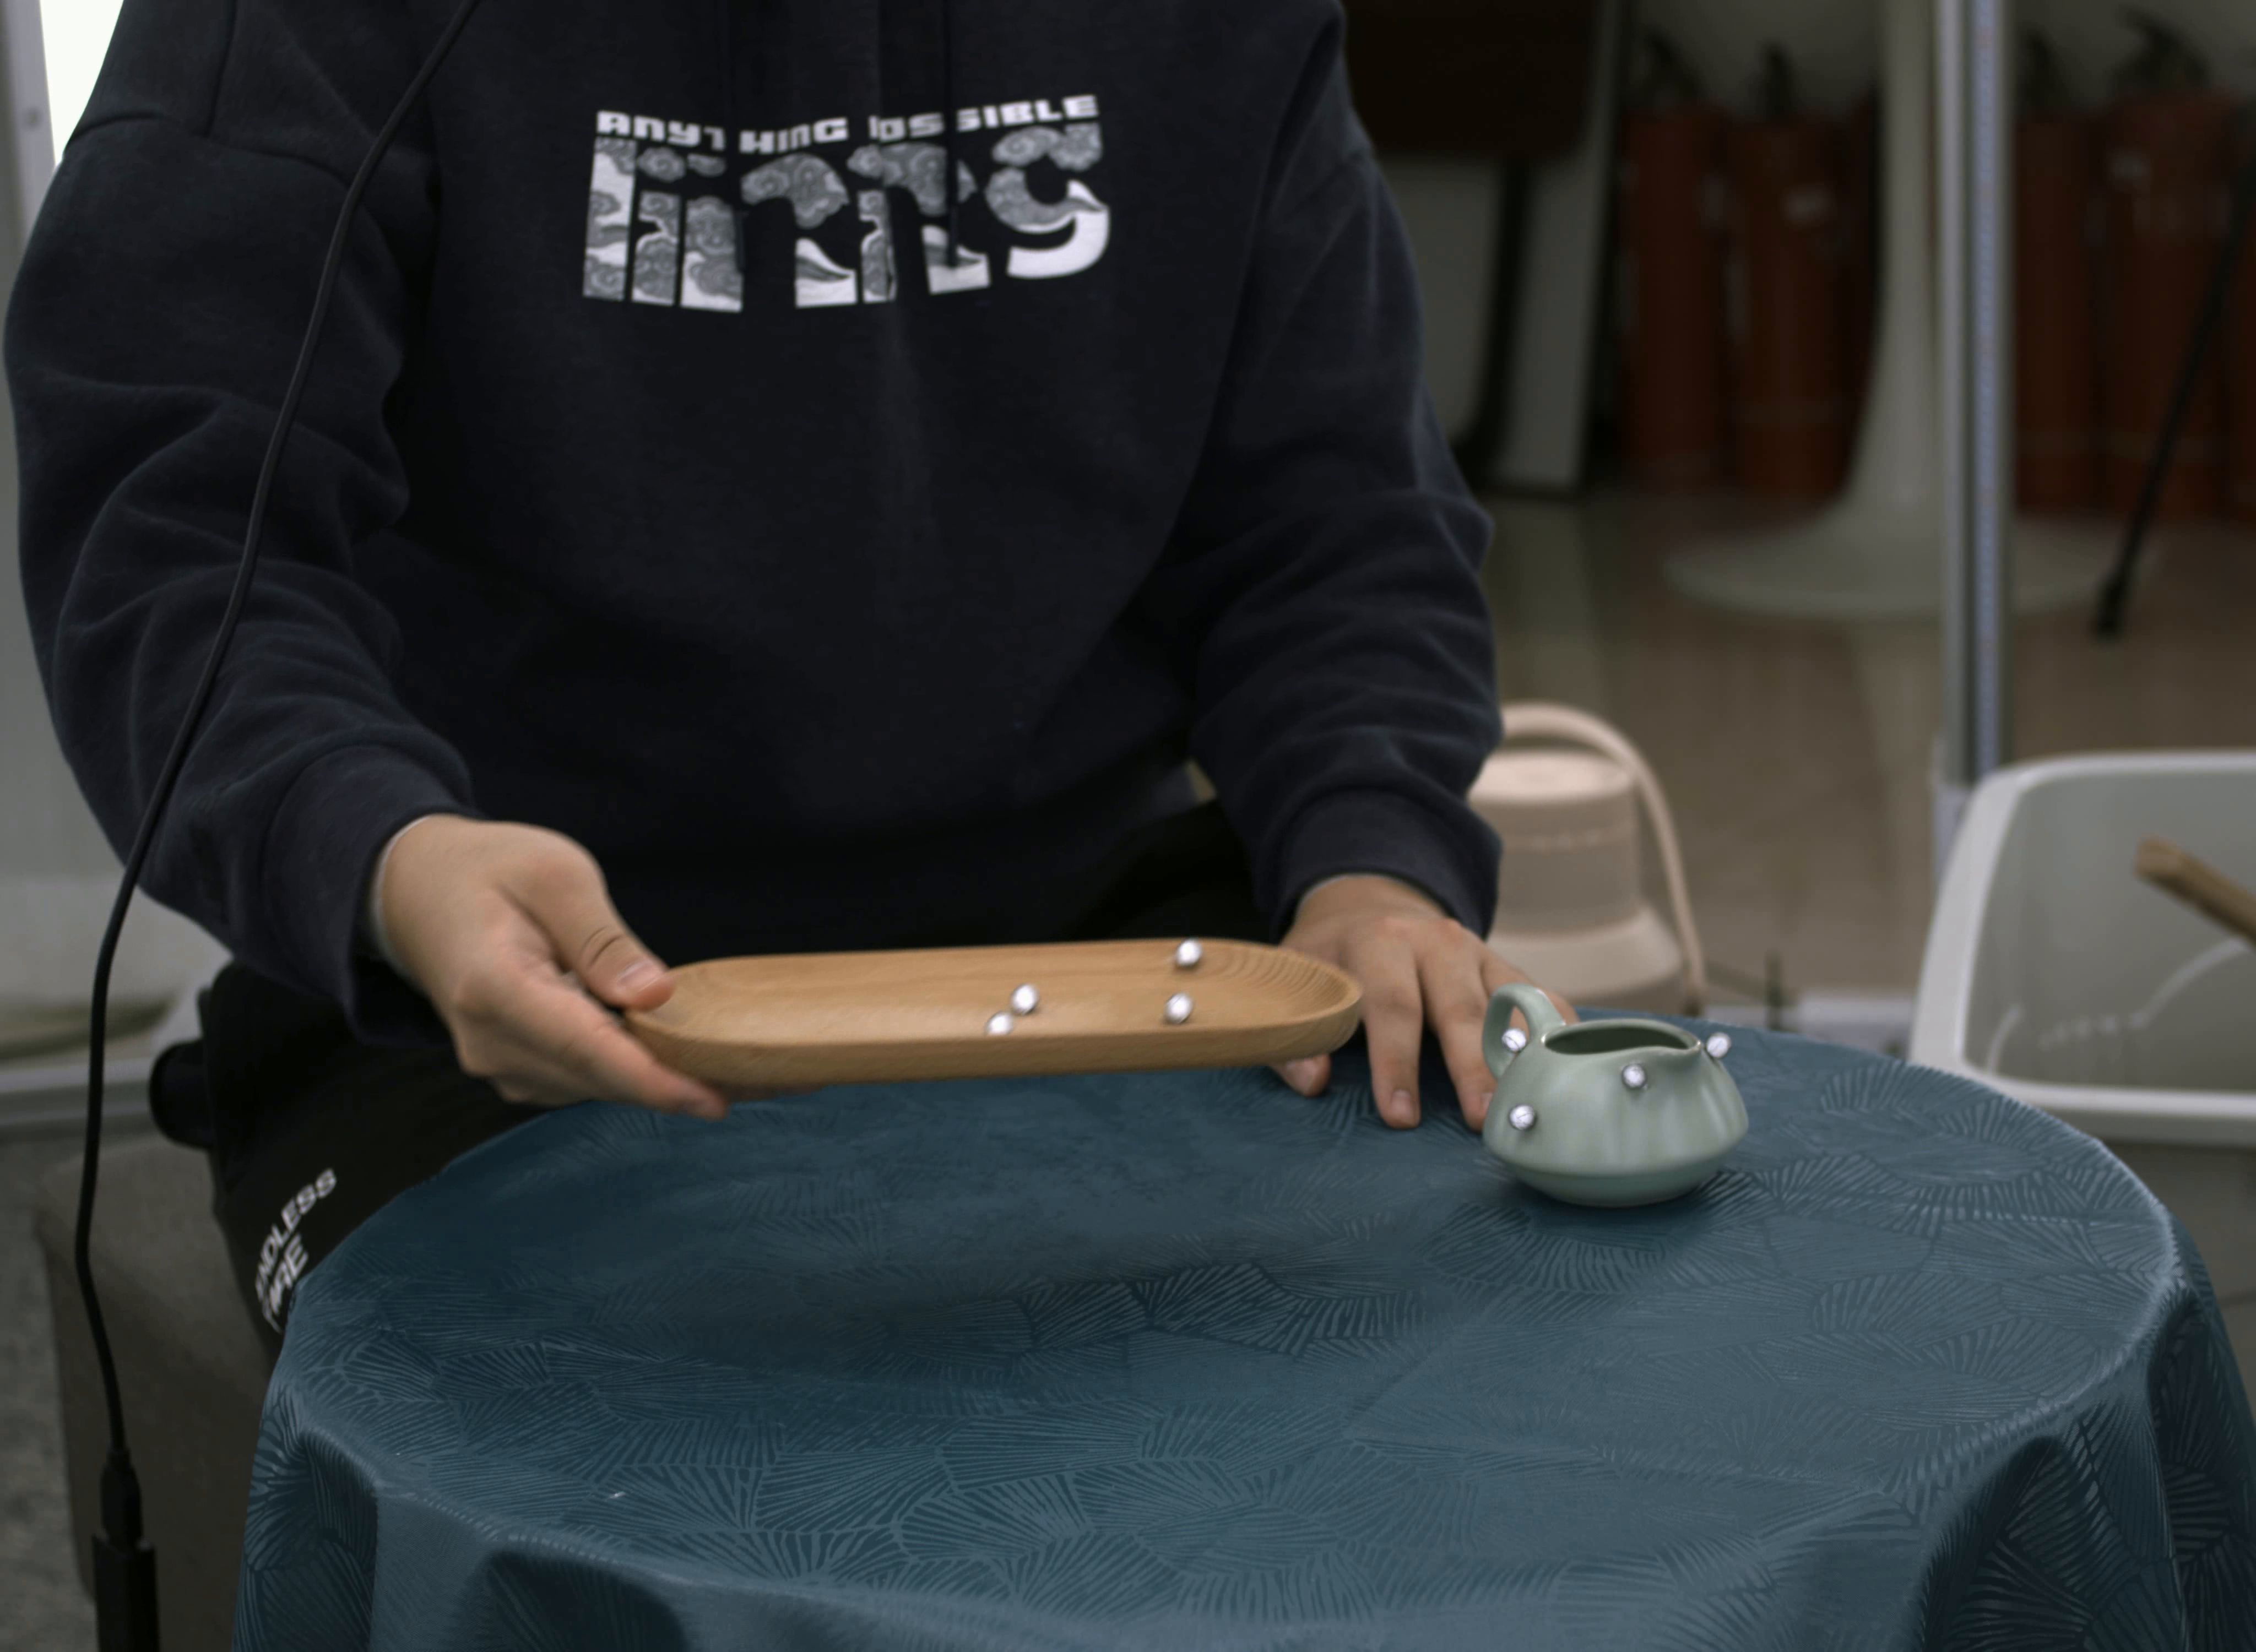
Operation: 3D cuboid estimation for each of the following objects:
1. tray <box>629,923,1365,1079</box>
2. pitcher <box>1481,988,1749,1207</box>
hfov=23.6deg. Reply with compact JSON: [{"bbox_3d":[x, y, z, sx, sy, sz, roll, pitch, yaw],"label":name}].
[{"bbox_3d":[-0.039,0.054,1.655,0.227,0.020,0.102,-4,13,-12],"label":"tray"},{"bbox_3d":[0.151,0.088,1.750,0.084,0.061,0.109,-12,13,-34],"label":"pitcher"}]
